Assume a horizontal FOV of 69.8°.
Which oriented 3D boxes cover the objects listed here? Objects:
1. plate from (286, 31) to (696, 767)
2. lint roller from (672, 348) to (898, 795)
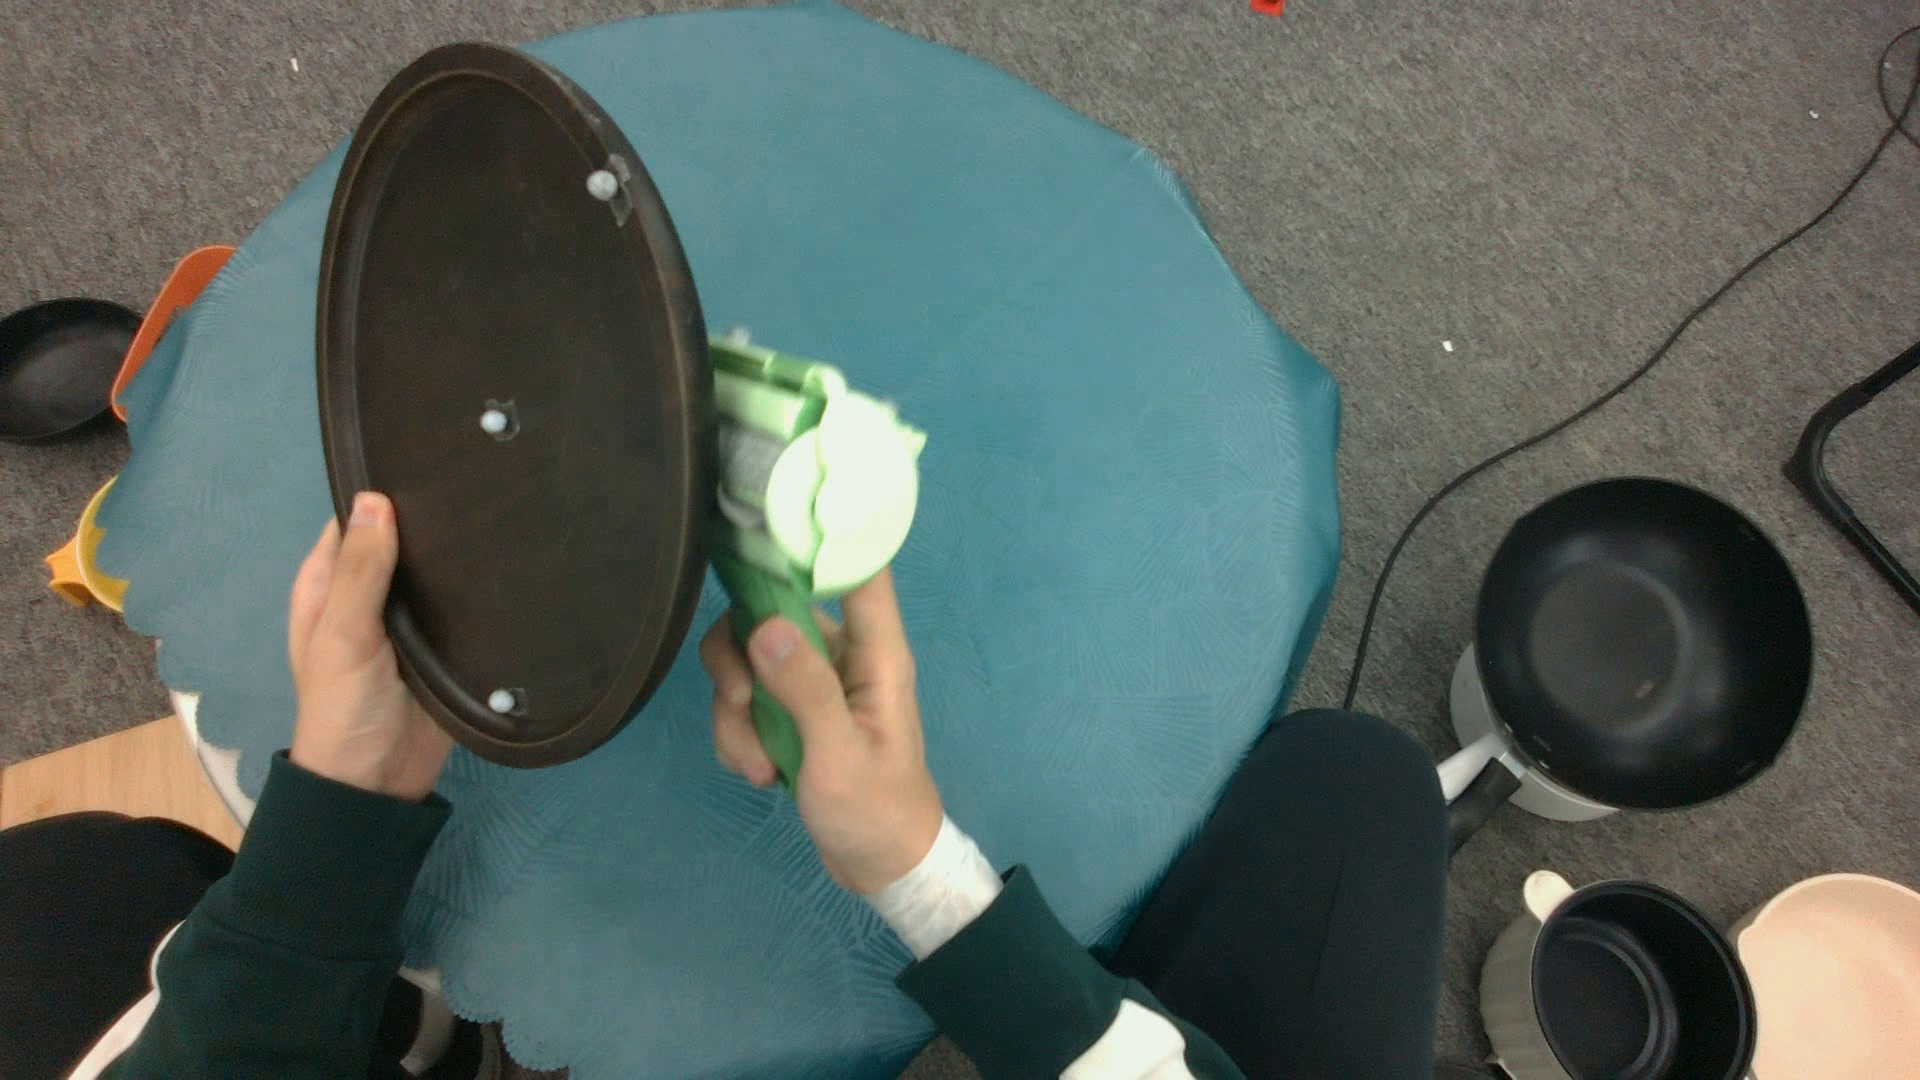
[{"bbox_3d":[-0.176,-0.047,0.492,0.029,0.253,0.255,-11,64,-49],"label":"plate"},{"bbox_3d":[-0.071,0.008,0.516,0.082,0.183,0.198,-38,31,-25],"label":"lint roller"}]
